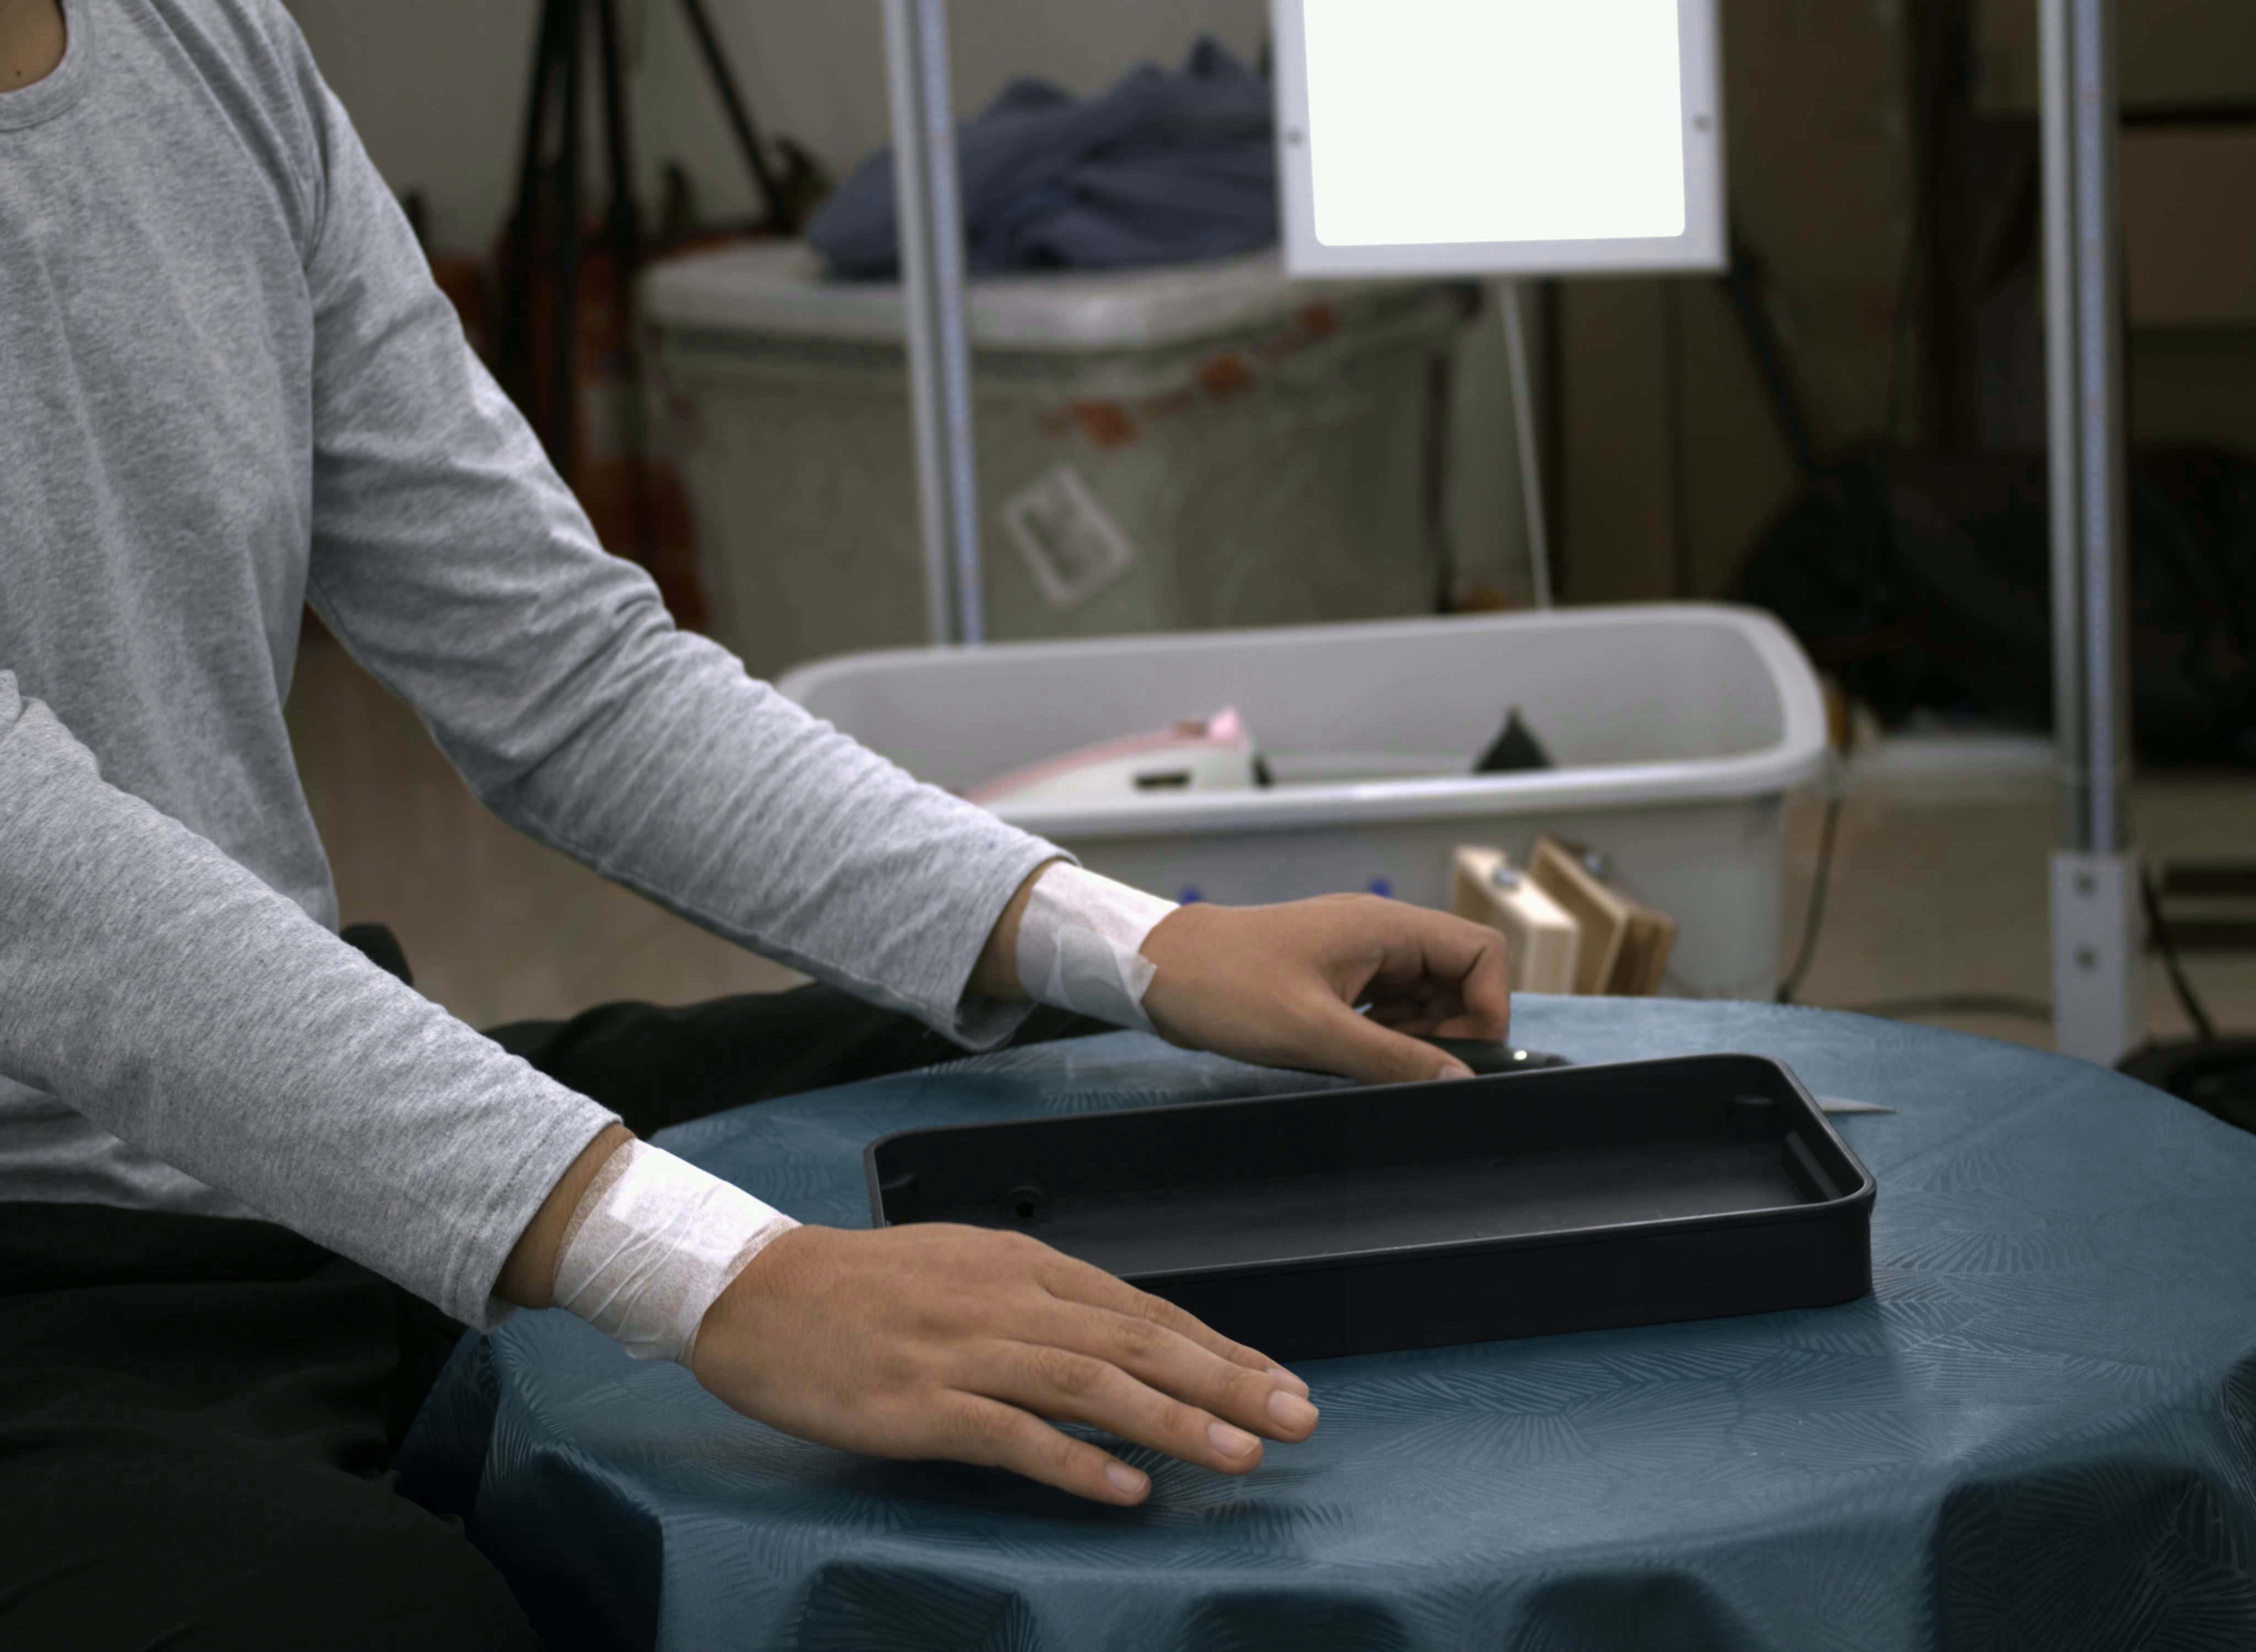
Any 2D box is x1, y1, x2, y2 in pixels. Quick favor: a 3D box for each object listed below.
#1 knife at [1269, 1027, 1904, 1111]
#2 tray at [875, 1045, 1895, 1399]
[{"bbox_3d":[0.161,0.090,1.962,0.241,0.016,0.024,5,16,23],"label":"knife"},{"bbox_3d":[0.081,0.126,1.799,0.316,0.037,0.184,-7,13,-3],"label":"tray"}]
